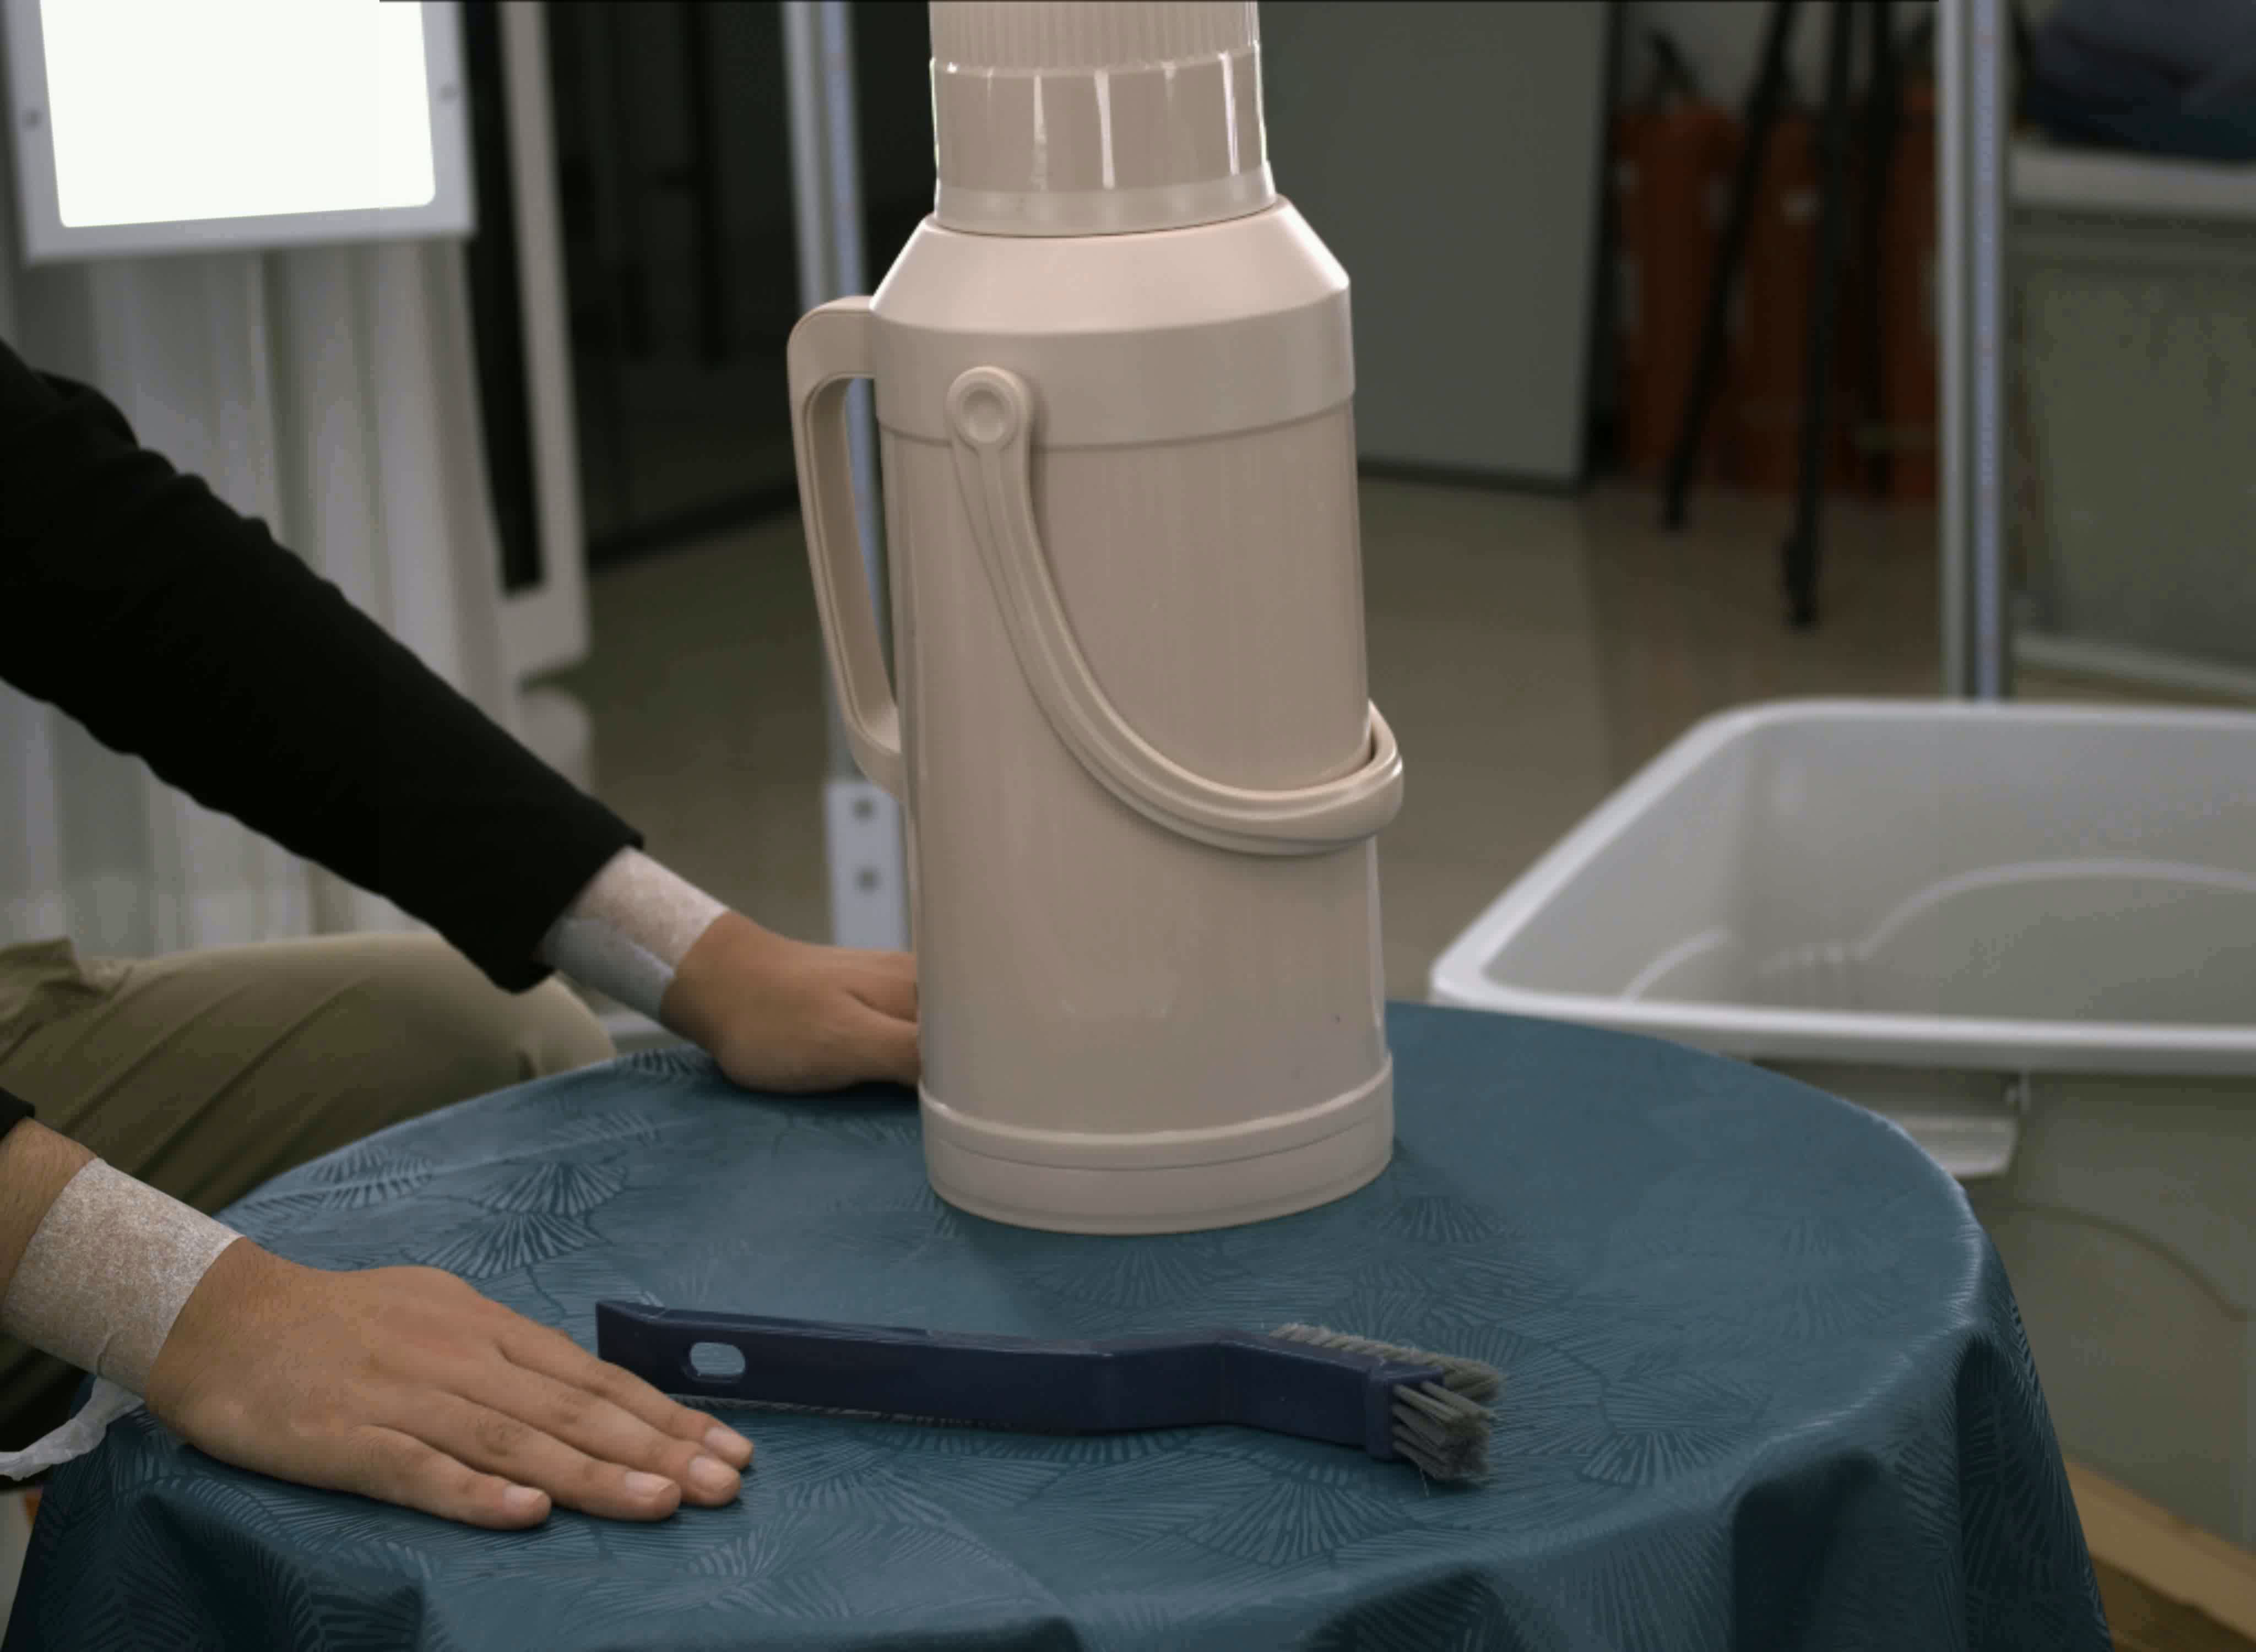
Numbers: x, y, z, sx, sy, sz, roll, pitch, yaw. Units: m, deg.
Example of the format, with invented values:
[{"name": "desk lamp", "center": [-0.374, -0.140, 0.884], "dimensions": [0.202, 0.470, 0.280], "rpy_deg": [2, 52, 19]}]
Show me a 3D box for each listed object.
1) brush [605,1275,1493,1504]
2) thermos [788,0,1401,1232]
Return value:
[{"name": "brush", "center": [-0.030, 0.160, 1.550], "dimensions": [0.272, 0.034, 0.095], "rpy_deg": [1, 13, 14]}, {"name": "thermos", "center": [-0.013, -0.083, 1.765], "dimensions": [0.207, 0.410, 0.173], "rpy_deg": [4, 17, 28]}]
